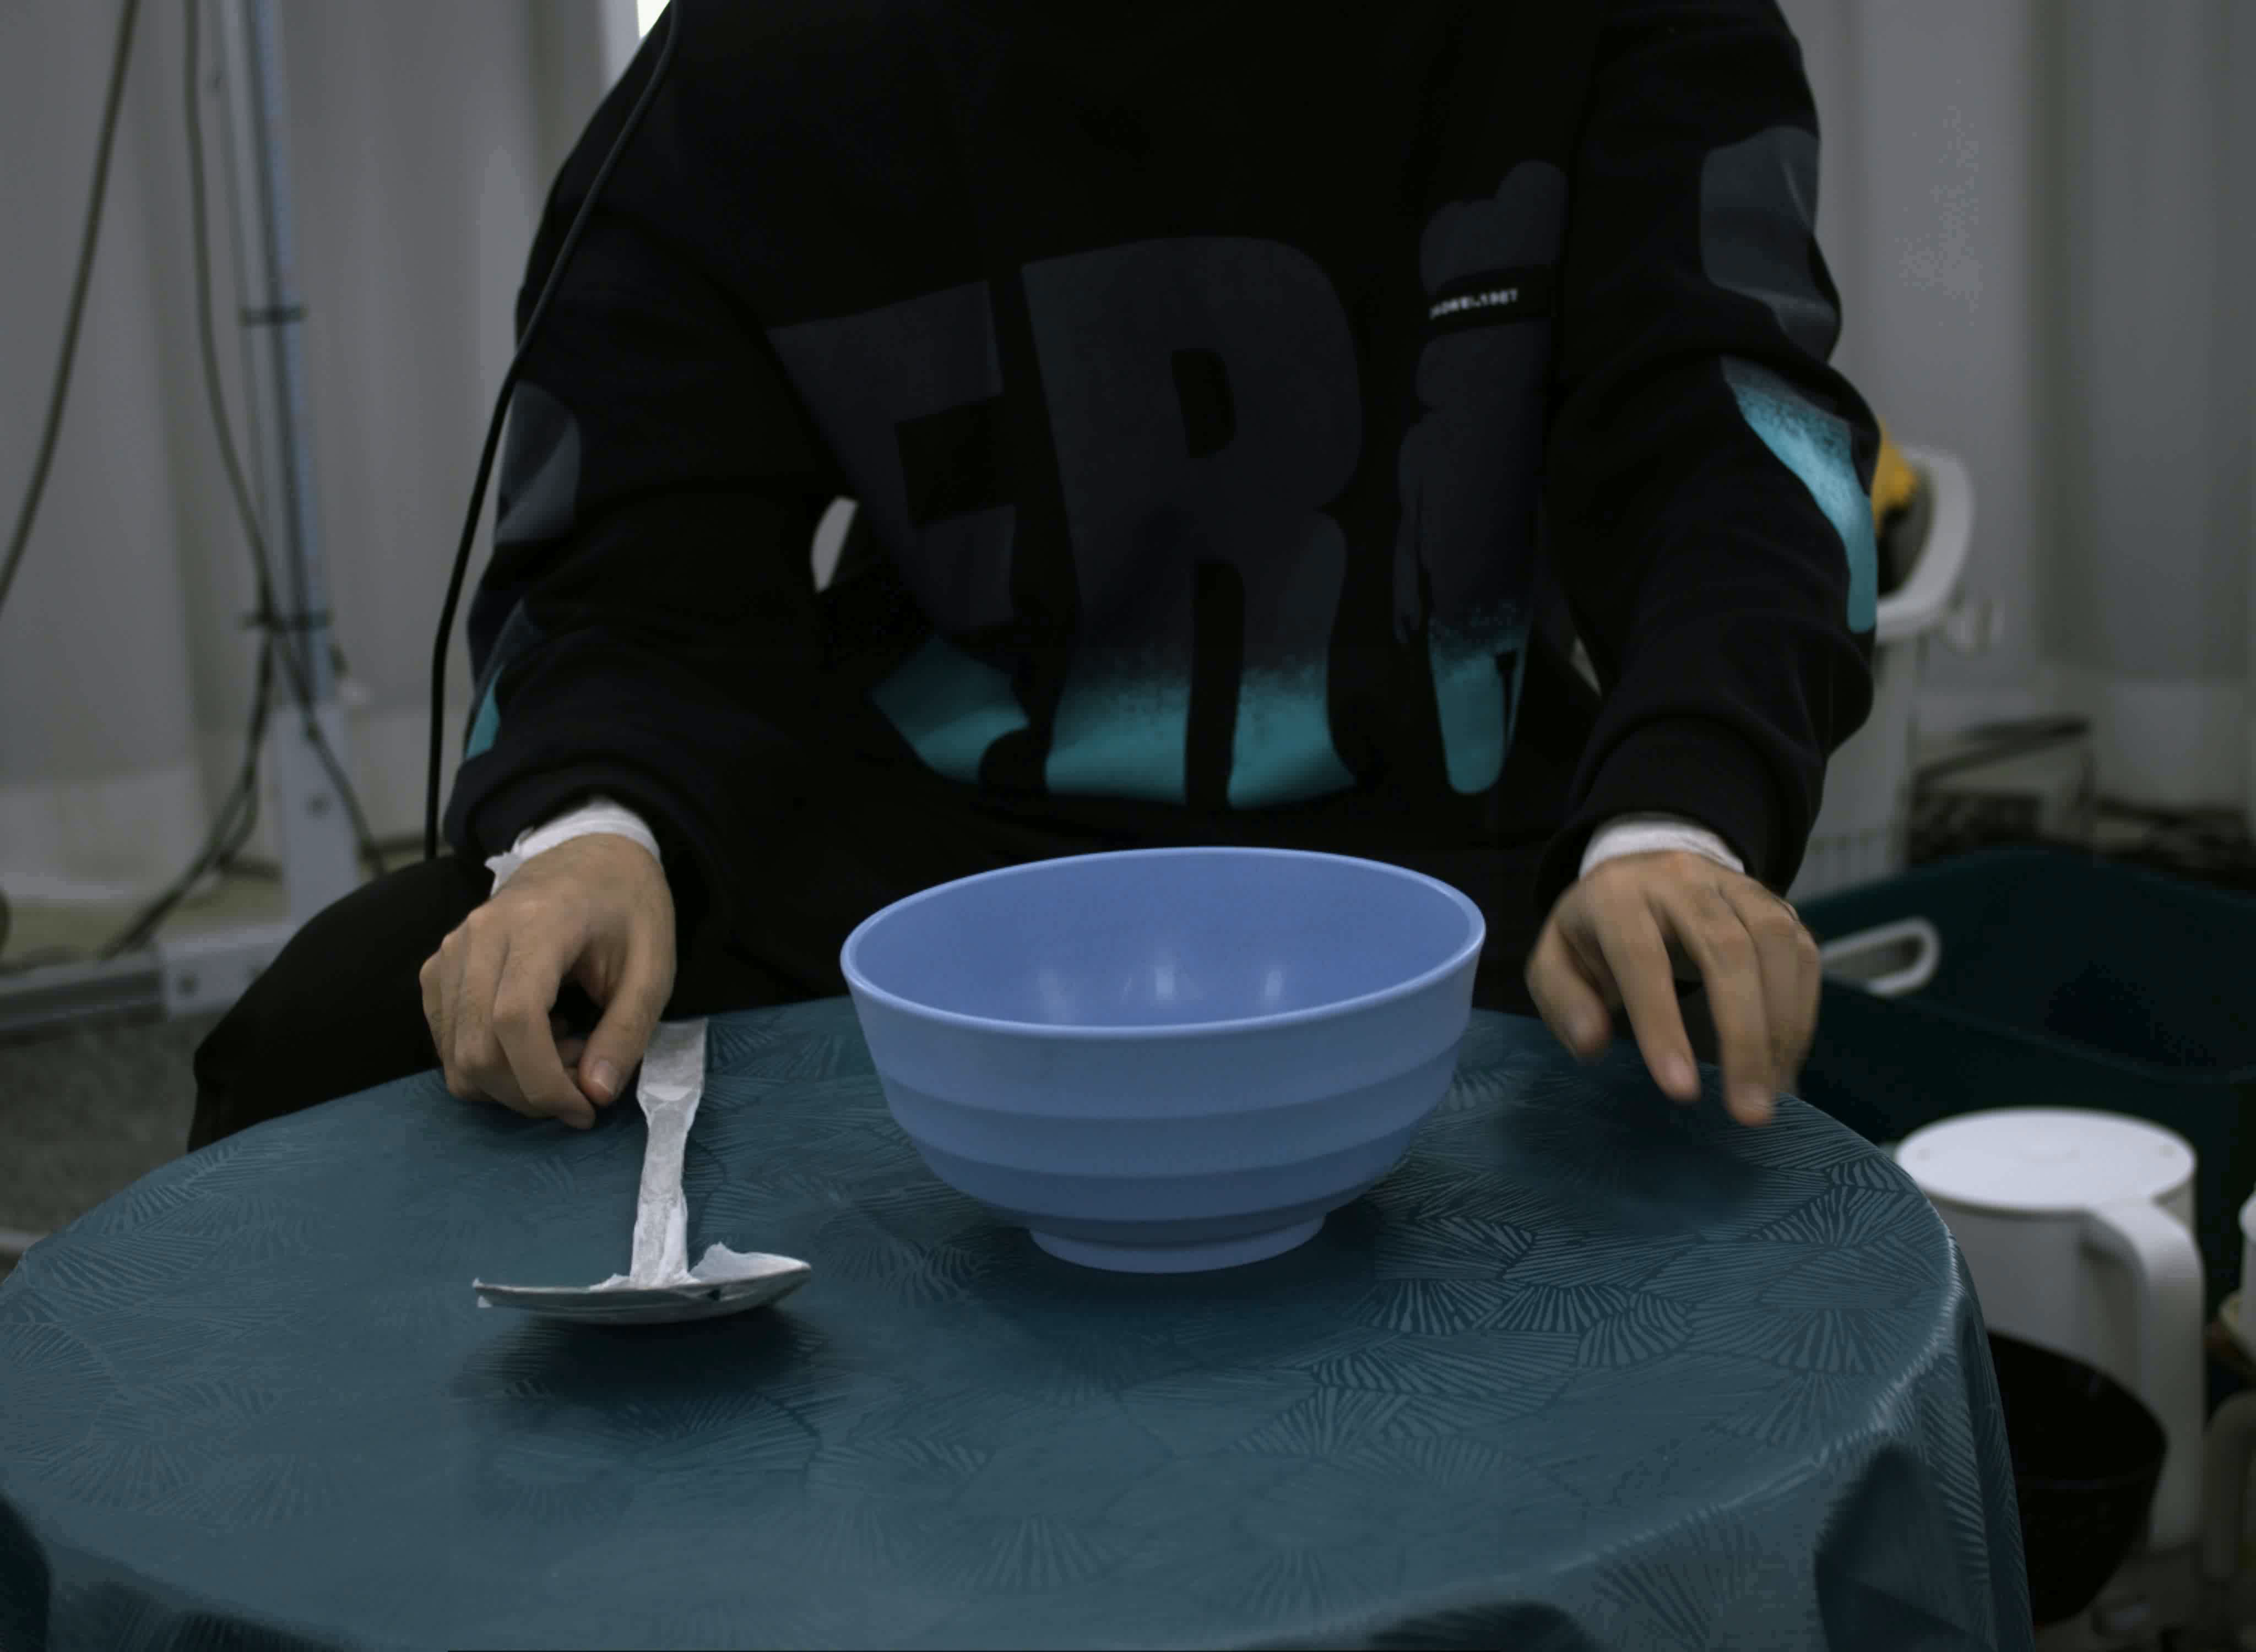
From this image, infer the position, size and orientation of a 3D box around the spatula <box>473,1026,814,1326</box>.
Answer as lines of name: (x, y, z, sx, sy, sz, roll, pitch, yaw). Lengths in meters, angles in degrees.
spatula: (-0.142, 0.101, 1.719, 0.098, 0.044, 0.367, -5, 15, 0)

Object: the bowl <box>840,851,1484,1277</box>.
bowl: (0.013, 0.078, 1.670, 0.196, 0.095, 0.198, -4, 15, 1)
